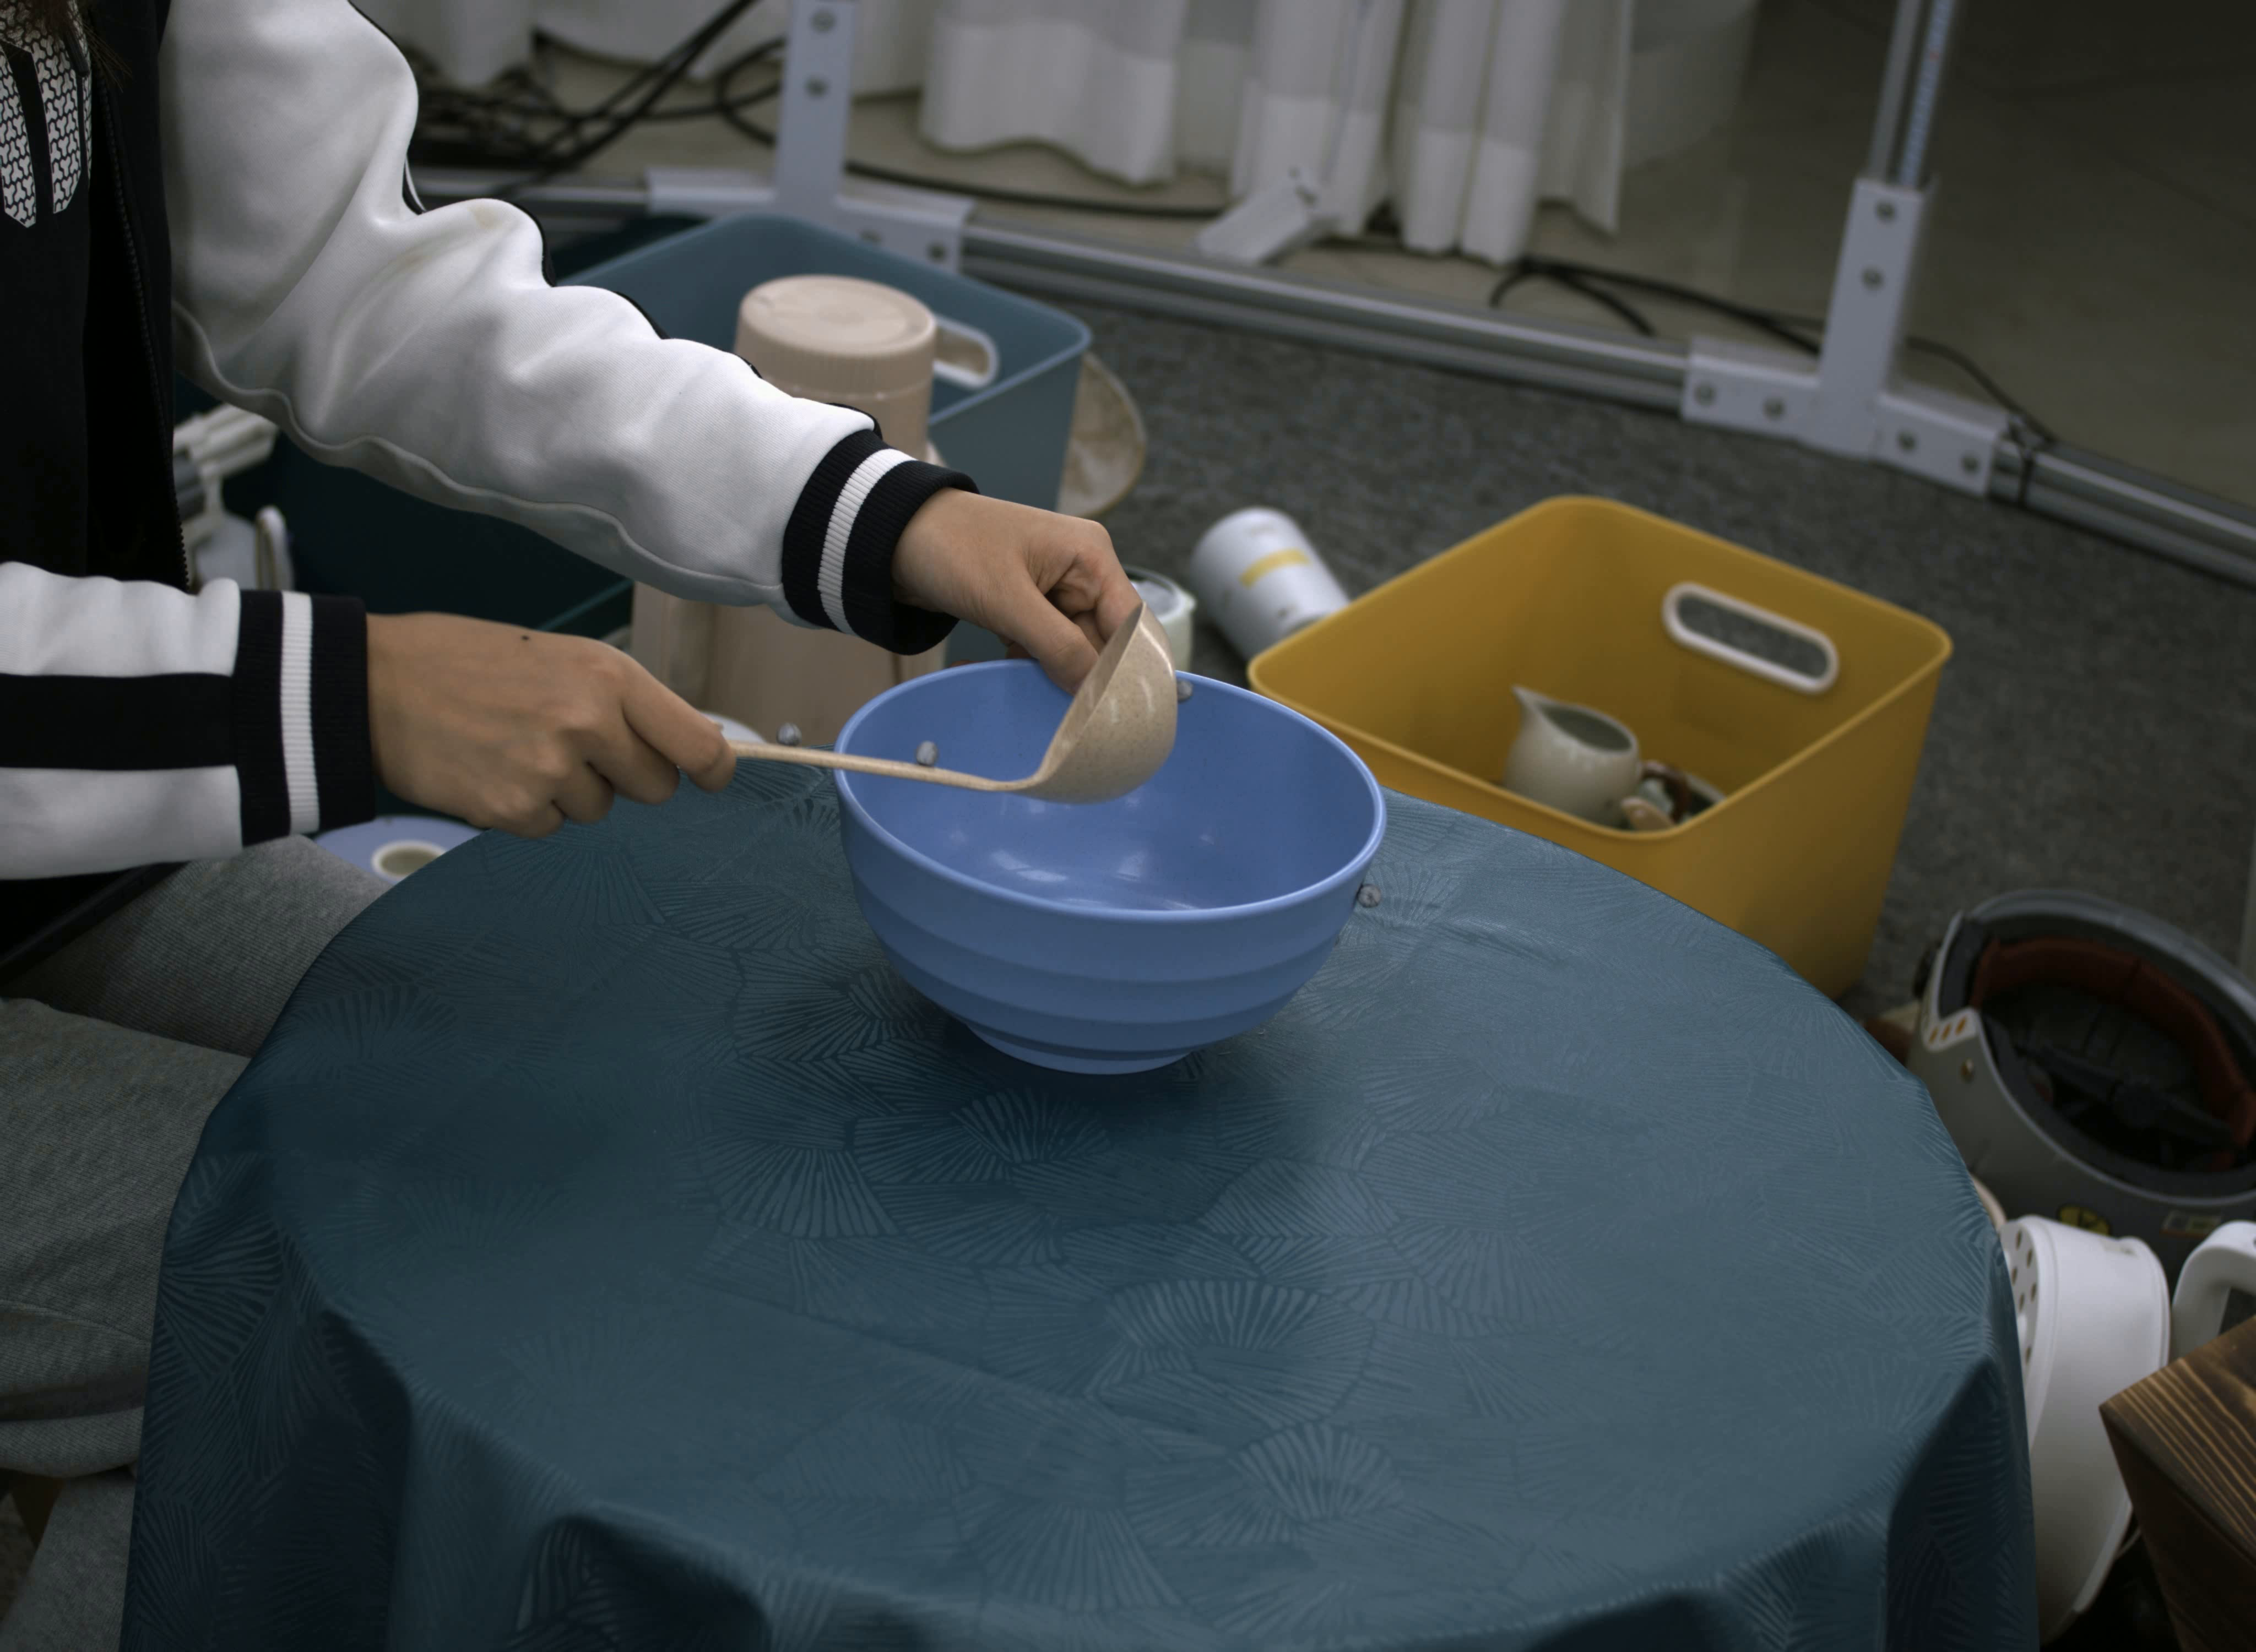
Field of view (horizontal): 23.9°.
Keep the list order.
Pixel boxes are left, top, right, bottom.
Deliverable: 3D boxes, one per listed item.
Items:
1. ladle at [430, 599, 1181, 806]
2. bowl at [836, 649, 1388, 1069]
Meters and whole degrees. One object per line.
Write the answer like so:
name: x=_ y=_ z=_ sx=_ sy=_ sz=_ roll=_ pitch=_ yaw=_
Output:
ladle: x=-0.109 y=-0.049 z=1.815 sx=0.253 sy=0.073 sz=0.072 roll=4 pitch=-3 yaw=-9
bowl: x=-0.012 y=0.023 z=1.889 sx=0.196 sy=0.095 sz=0.197 roll=8 pitch=27 yaw=-4
